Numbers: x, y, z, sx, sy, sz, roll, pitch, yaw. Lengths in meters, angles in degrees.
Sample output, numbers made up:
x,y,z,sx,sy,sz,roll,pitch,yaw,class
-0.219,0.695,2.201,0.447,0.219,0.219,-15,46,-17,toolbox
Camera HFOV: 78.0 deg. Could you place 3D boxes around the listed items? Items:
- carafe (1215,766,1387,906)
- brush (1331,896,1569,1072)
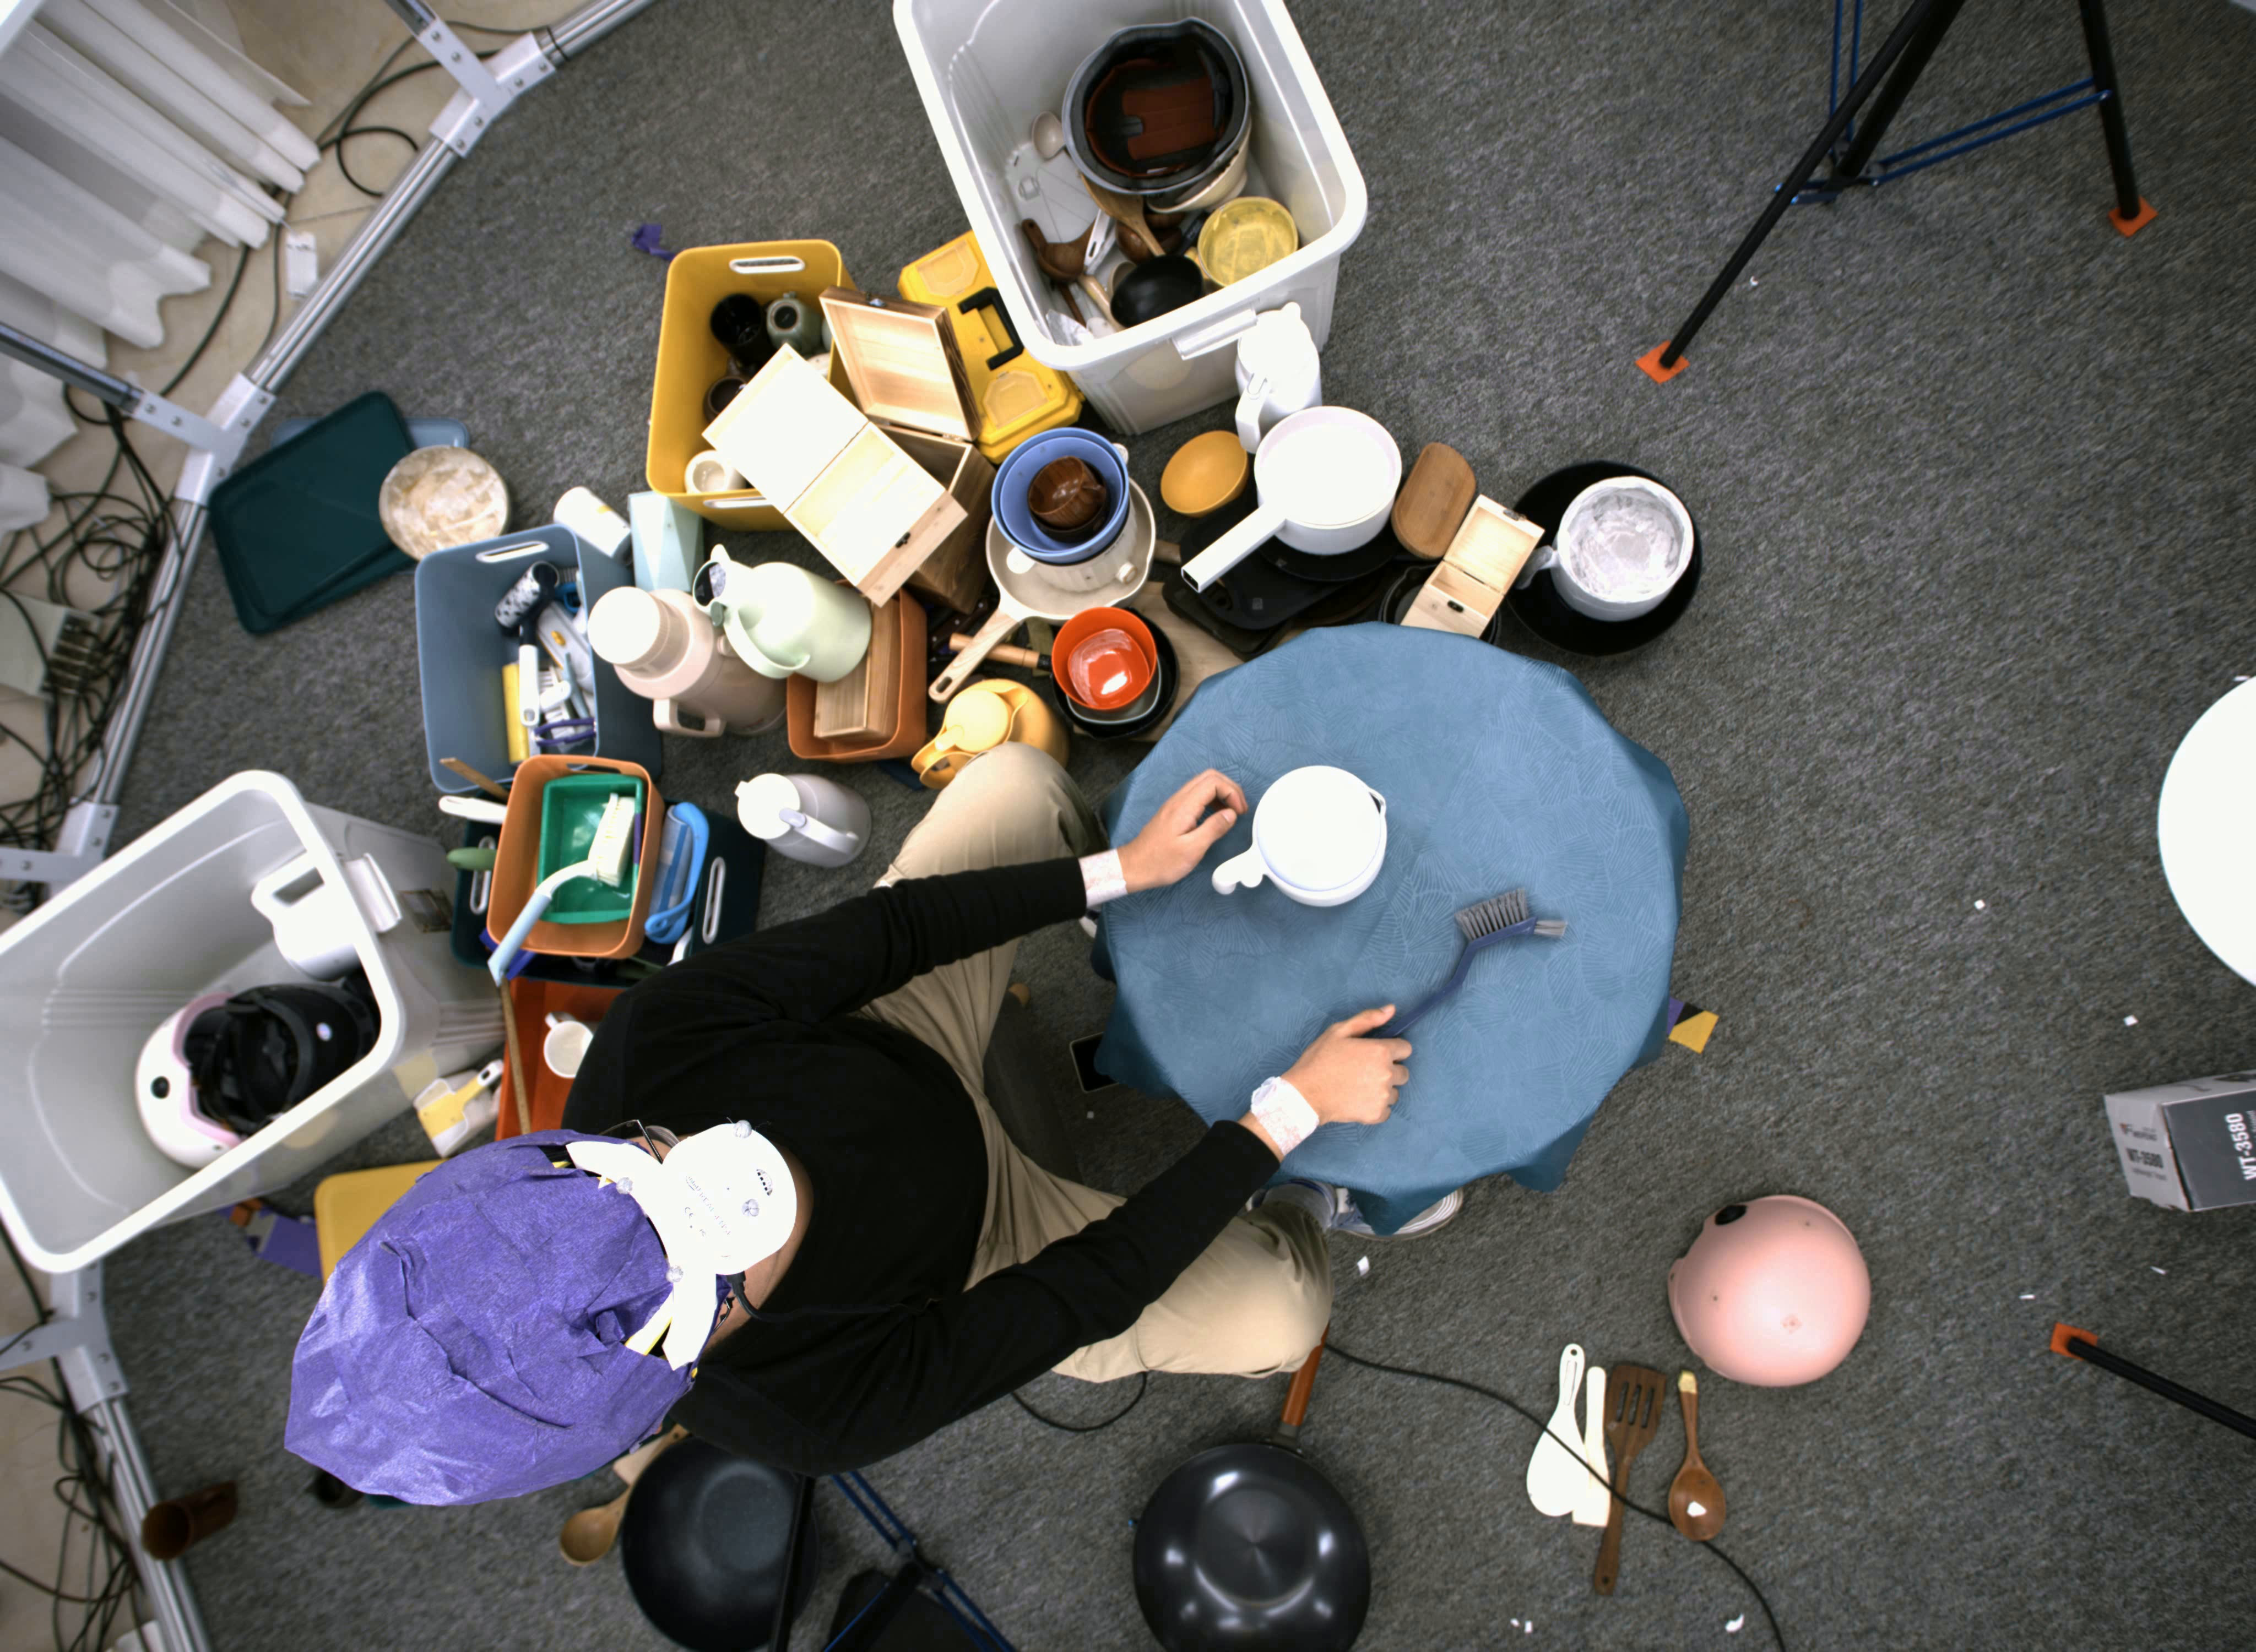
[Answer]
x,y,z,sx,sy,sz,roll,pitch,yaw,class
0.172,0.022,1.394,0.192,0.182,0.131,-27,80,8,carafe
0.327,0.176,1.429,0.095,0.033,0.274,45,94,8,brush
